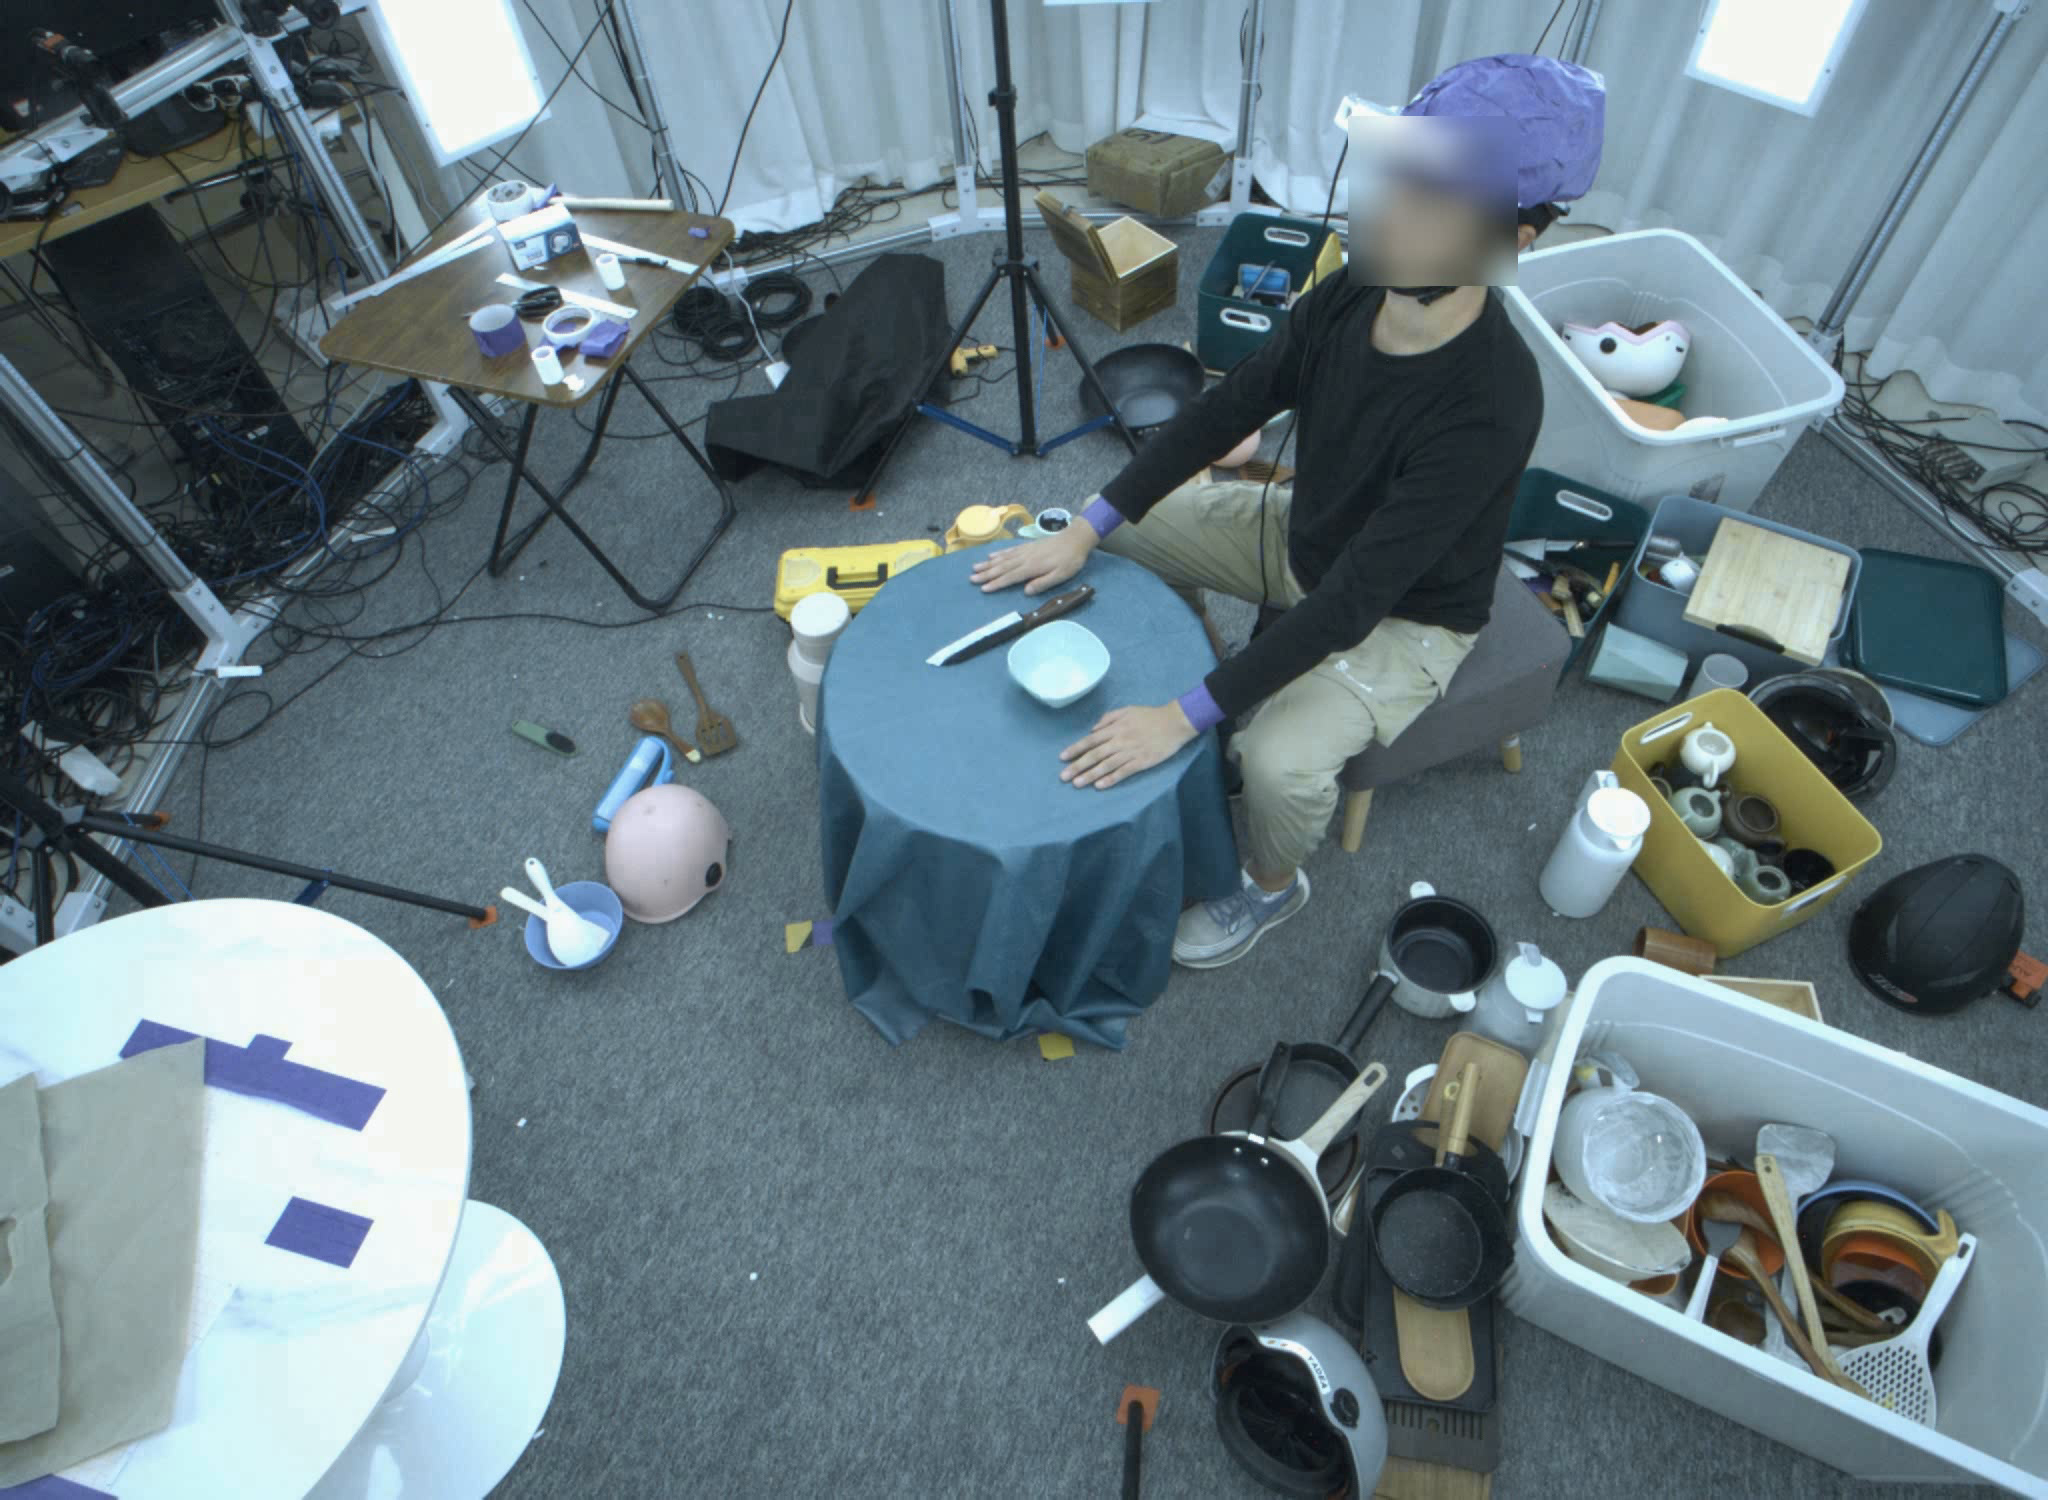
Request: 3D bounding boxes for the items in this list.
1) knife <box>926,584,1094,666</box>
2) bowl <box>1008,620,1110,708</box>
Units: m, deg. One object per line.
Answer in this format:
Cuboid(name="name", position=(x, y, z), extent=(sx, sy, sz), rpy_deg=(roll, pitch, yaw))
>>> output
Cuboid(name="knife", position=(-0.022, -0.193, 1.913), extent=(0.291, 0.020, 0.049), rpy_deg=(-25, 53, -12))
Cuboid(name="bowl", position=(0.053, -0.118, 1.832), extent=(0.151, 0.059, 0.150), rpy_deg=(-1, 55, 3))
